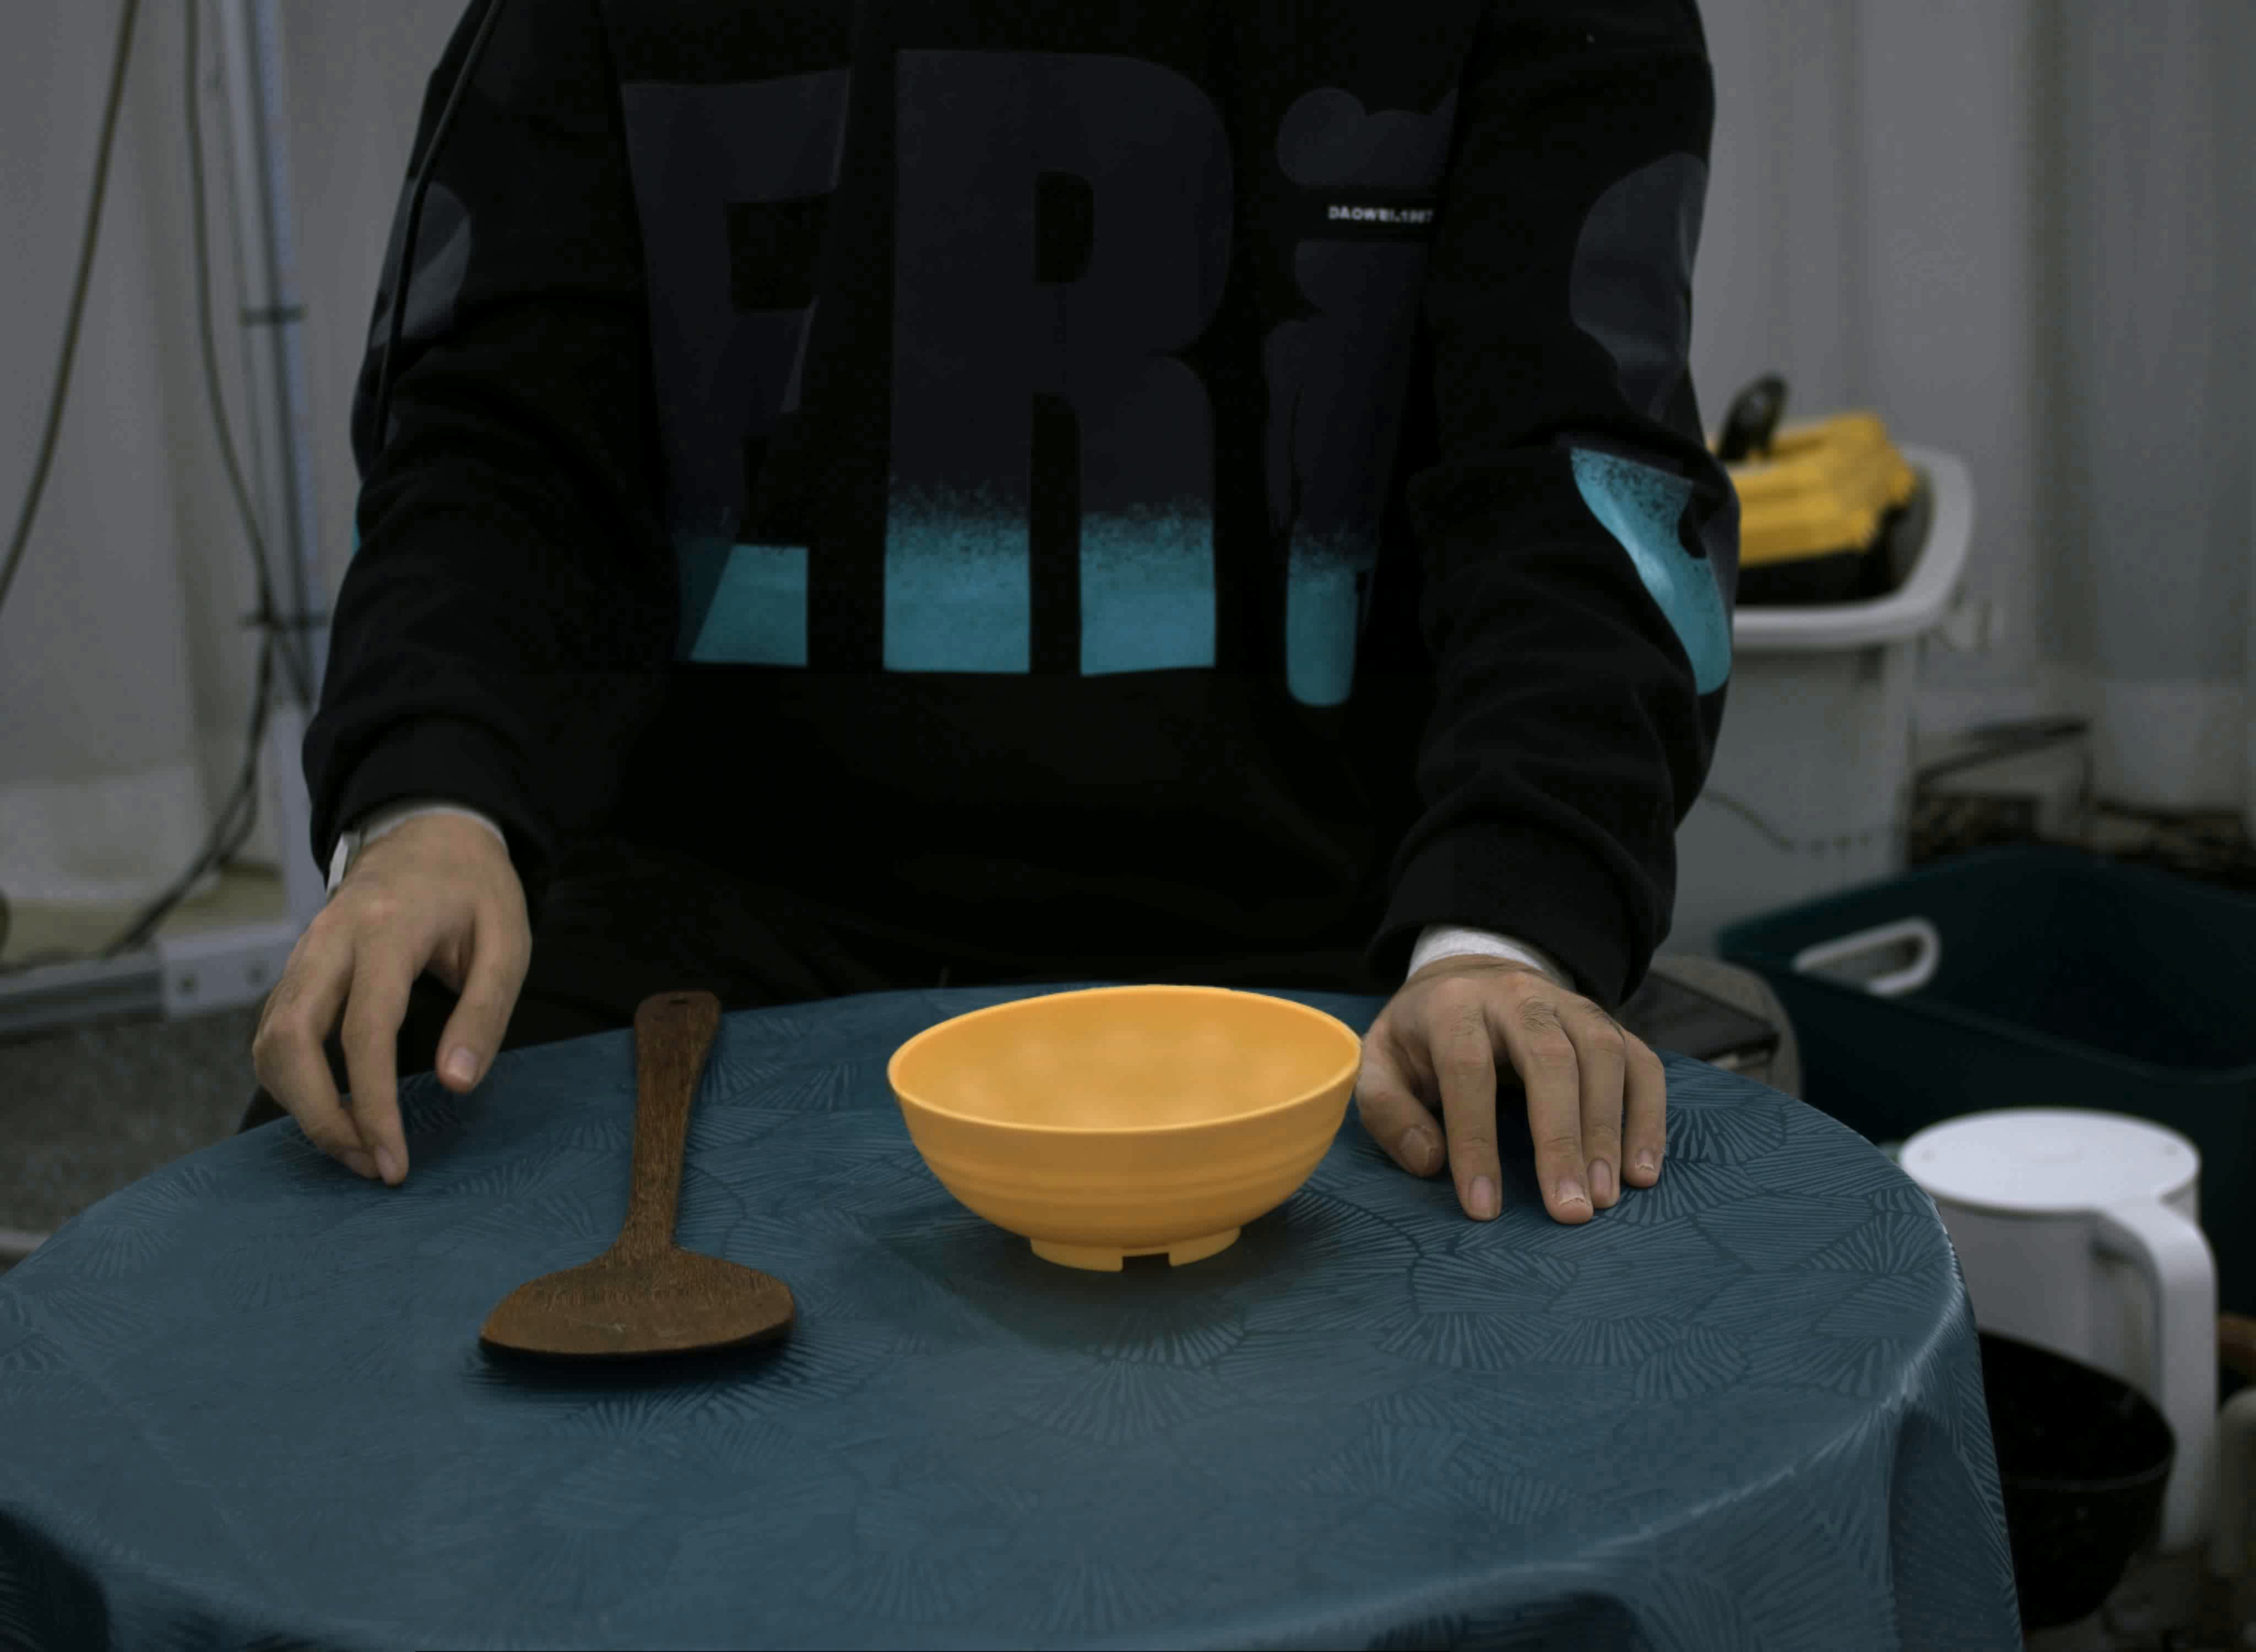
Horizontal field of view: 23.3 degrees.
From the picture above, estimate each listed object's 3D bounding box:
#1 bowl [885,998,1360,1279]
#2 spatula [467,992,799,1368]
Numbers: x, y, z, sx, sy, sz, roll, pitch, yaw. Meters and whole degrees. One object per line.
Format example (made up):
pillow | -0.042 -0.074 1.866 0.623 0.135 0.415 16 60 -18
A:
bowl | -0.001 0.100 1.666 0.145 0.060 0.146 -1 13 0
spatula | -0.151 0.107 1.747 0.096 0.016 0.388 -3 15 -2
